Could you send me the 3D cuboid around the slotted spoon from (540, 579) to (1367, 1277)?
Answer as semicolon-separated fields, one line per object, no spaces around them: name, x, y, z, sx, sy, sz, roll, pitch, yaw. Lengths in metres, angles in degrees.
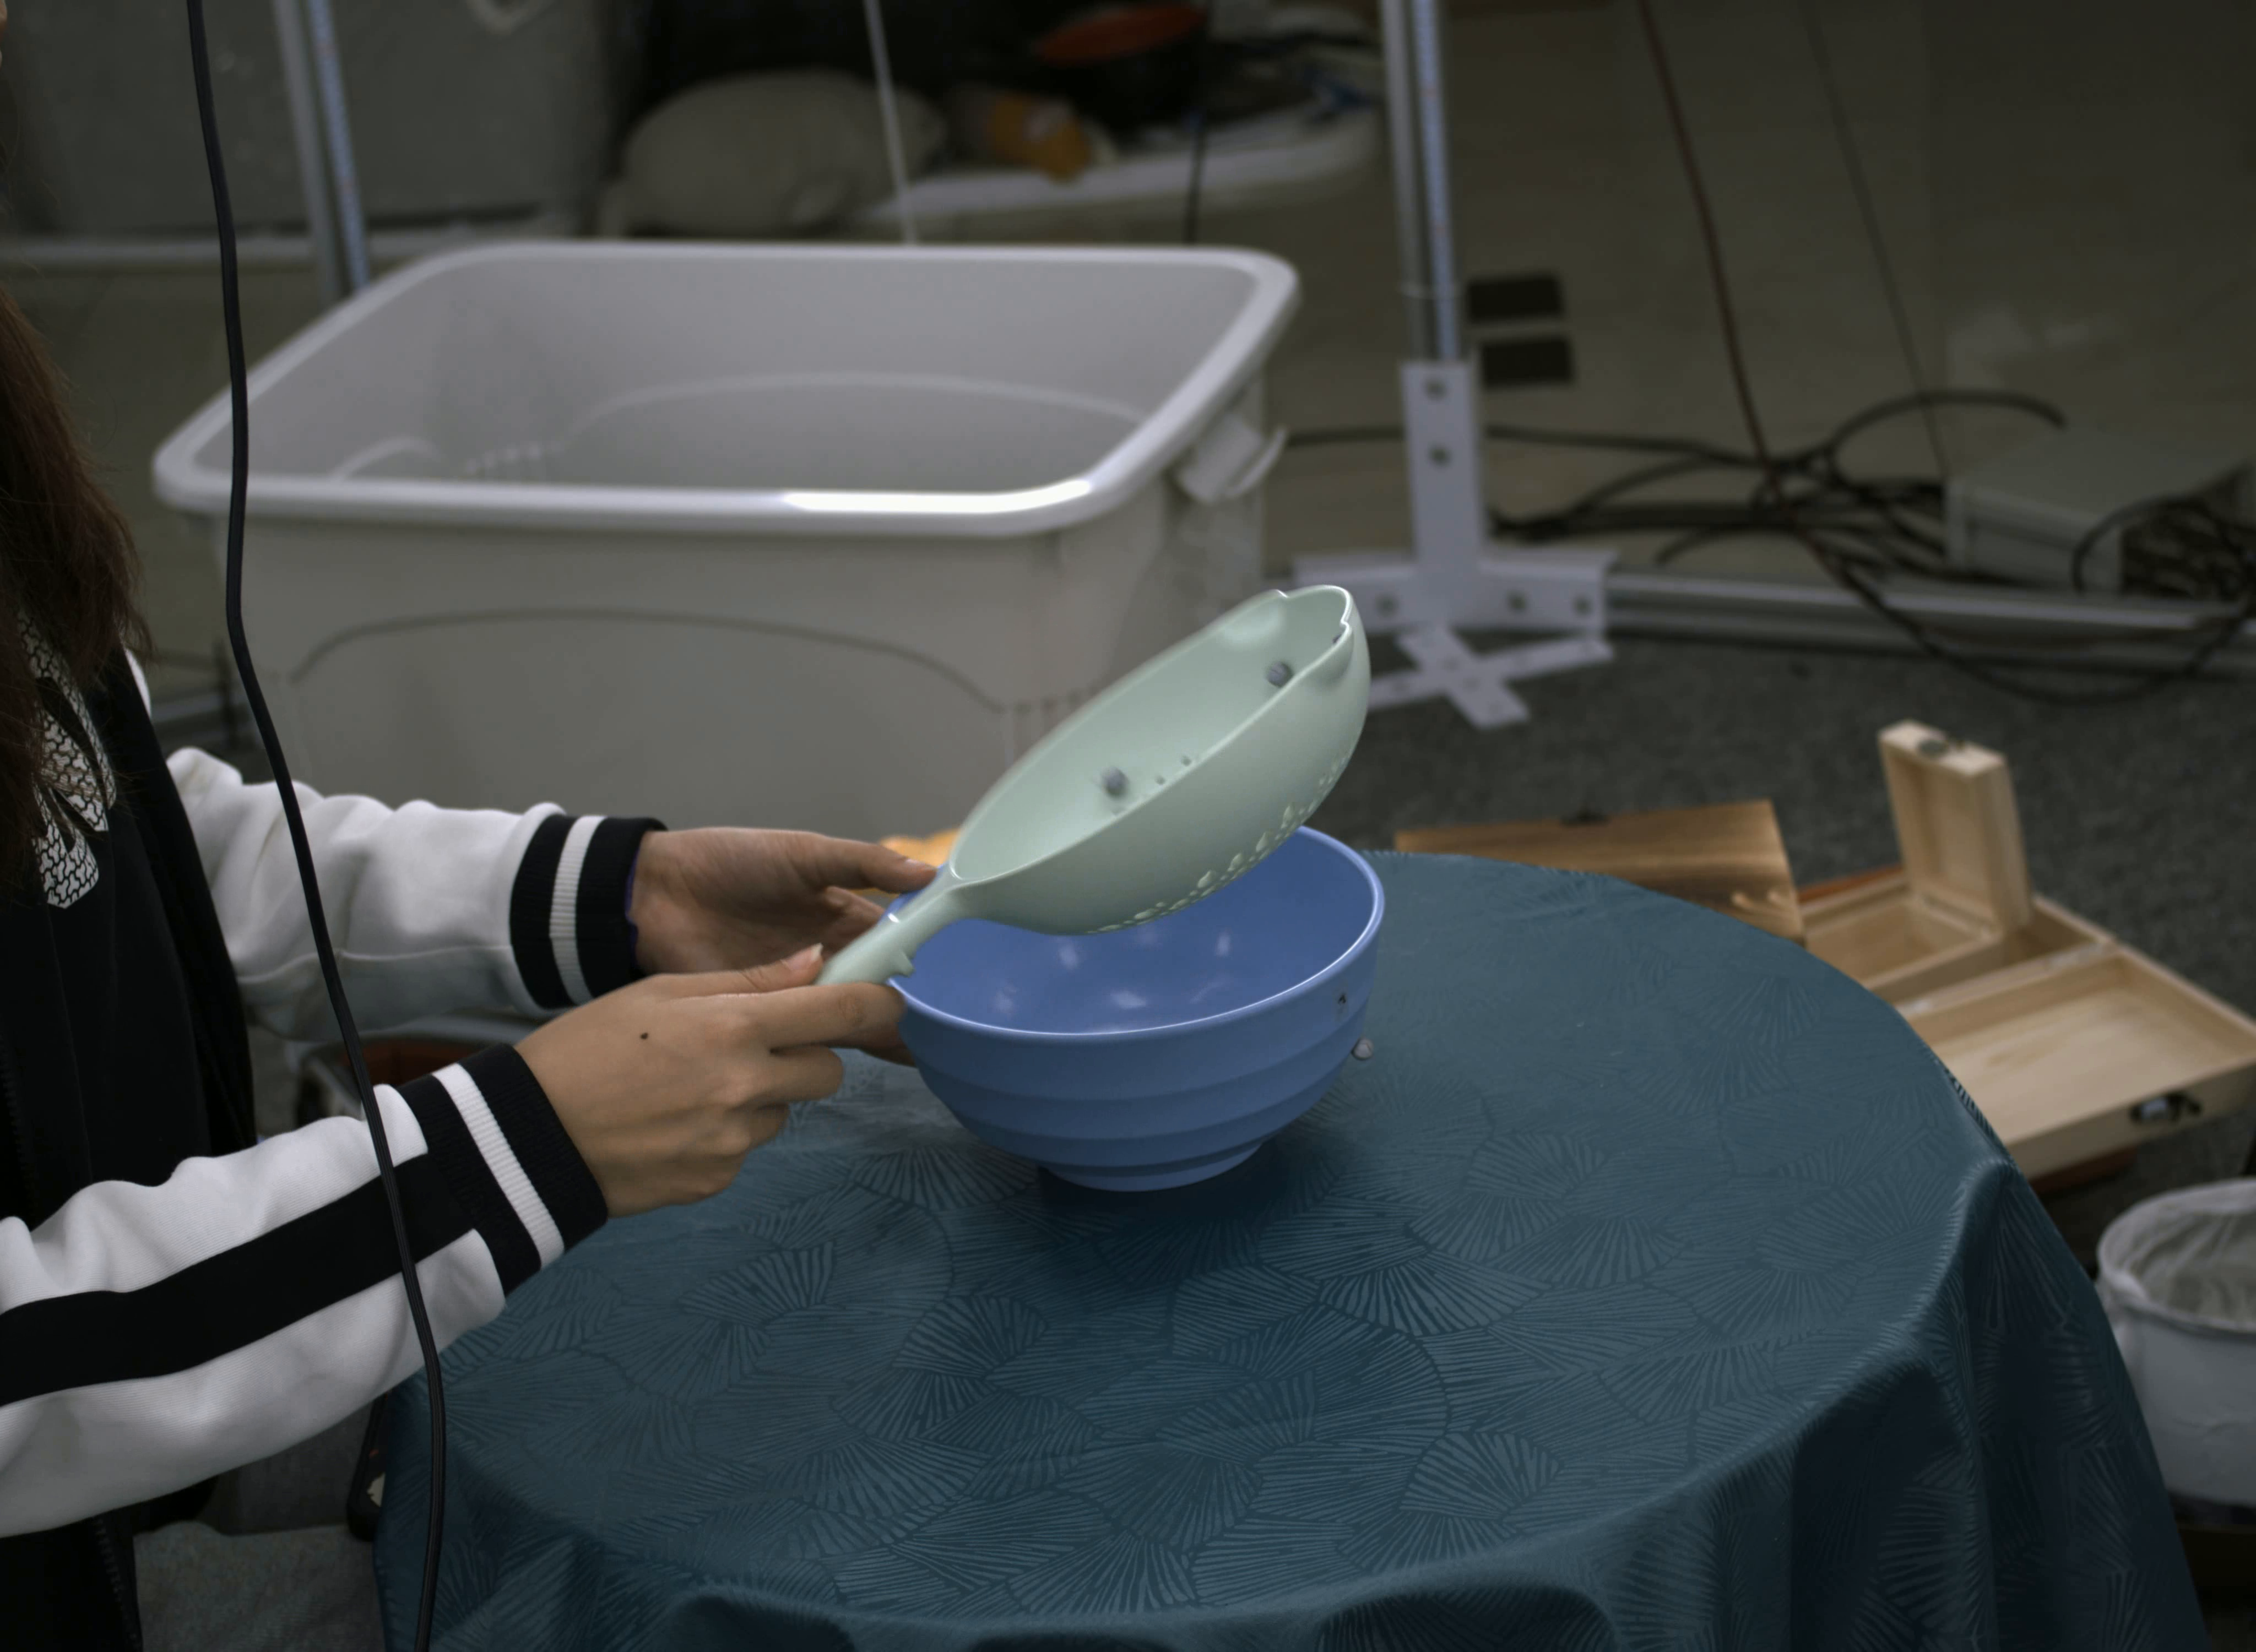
slotted spoon;-0.065;0.036;1.968;0.358;0.076;0.168;-30;16;-5

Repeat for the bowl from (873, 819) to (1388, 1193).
bowl;0.005;0.077;2.166;0.196;0.097;0.193;-5;26;3
